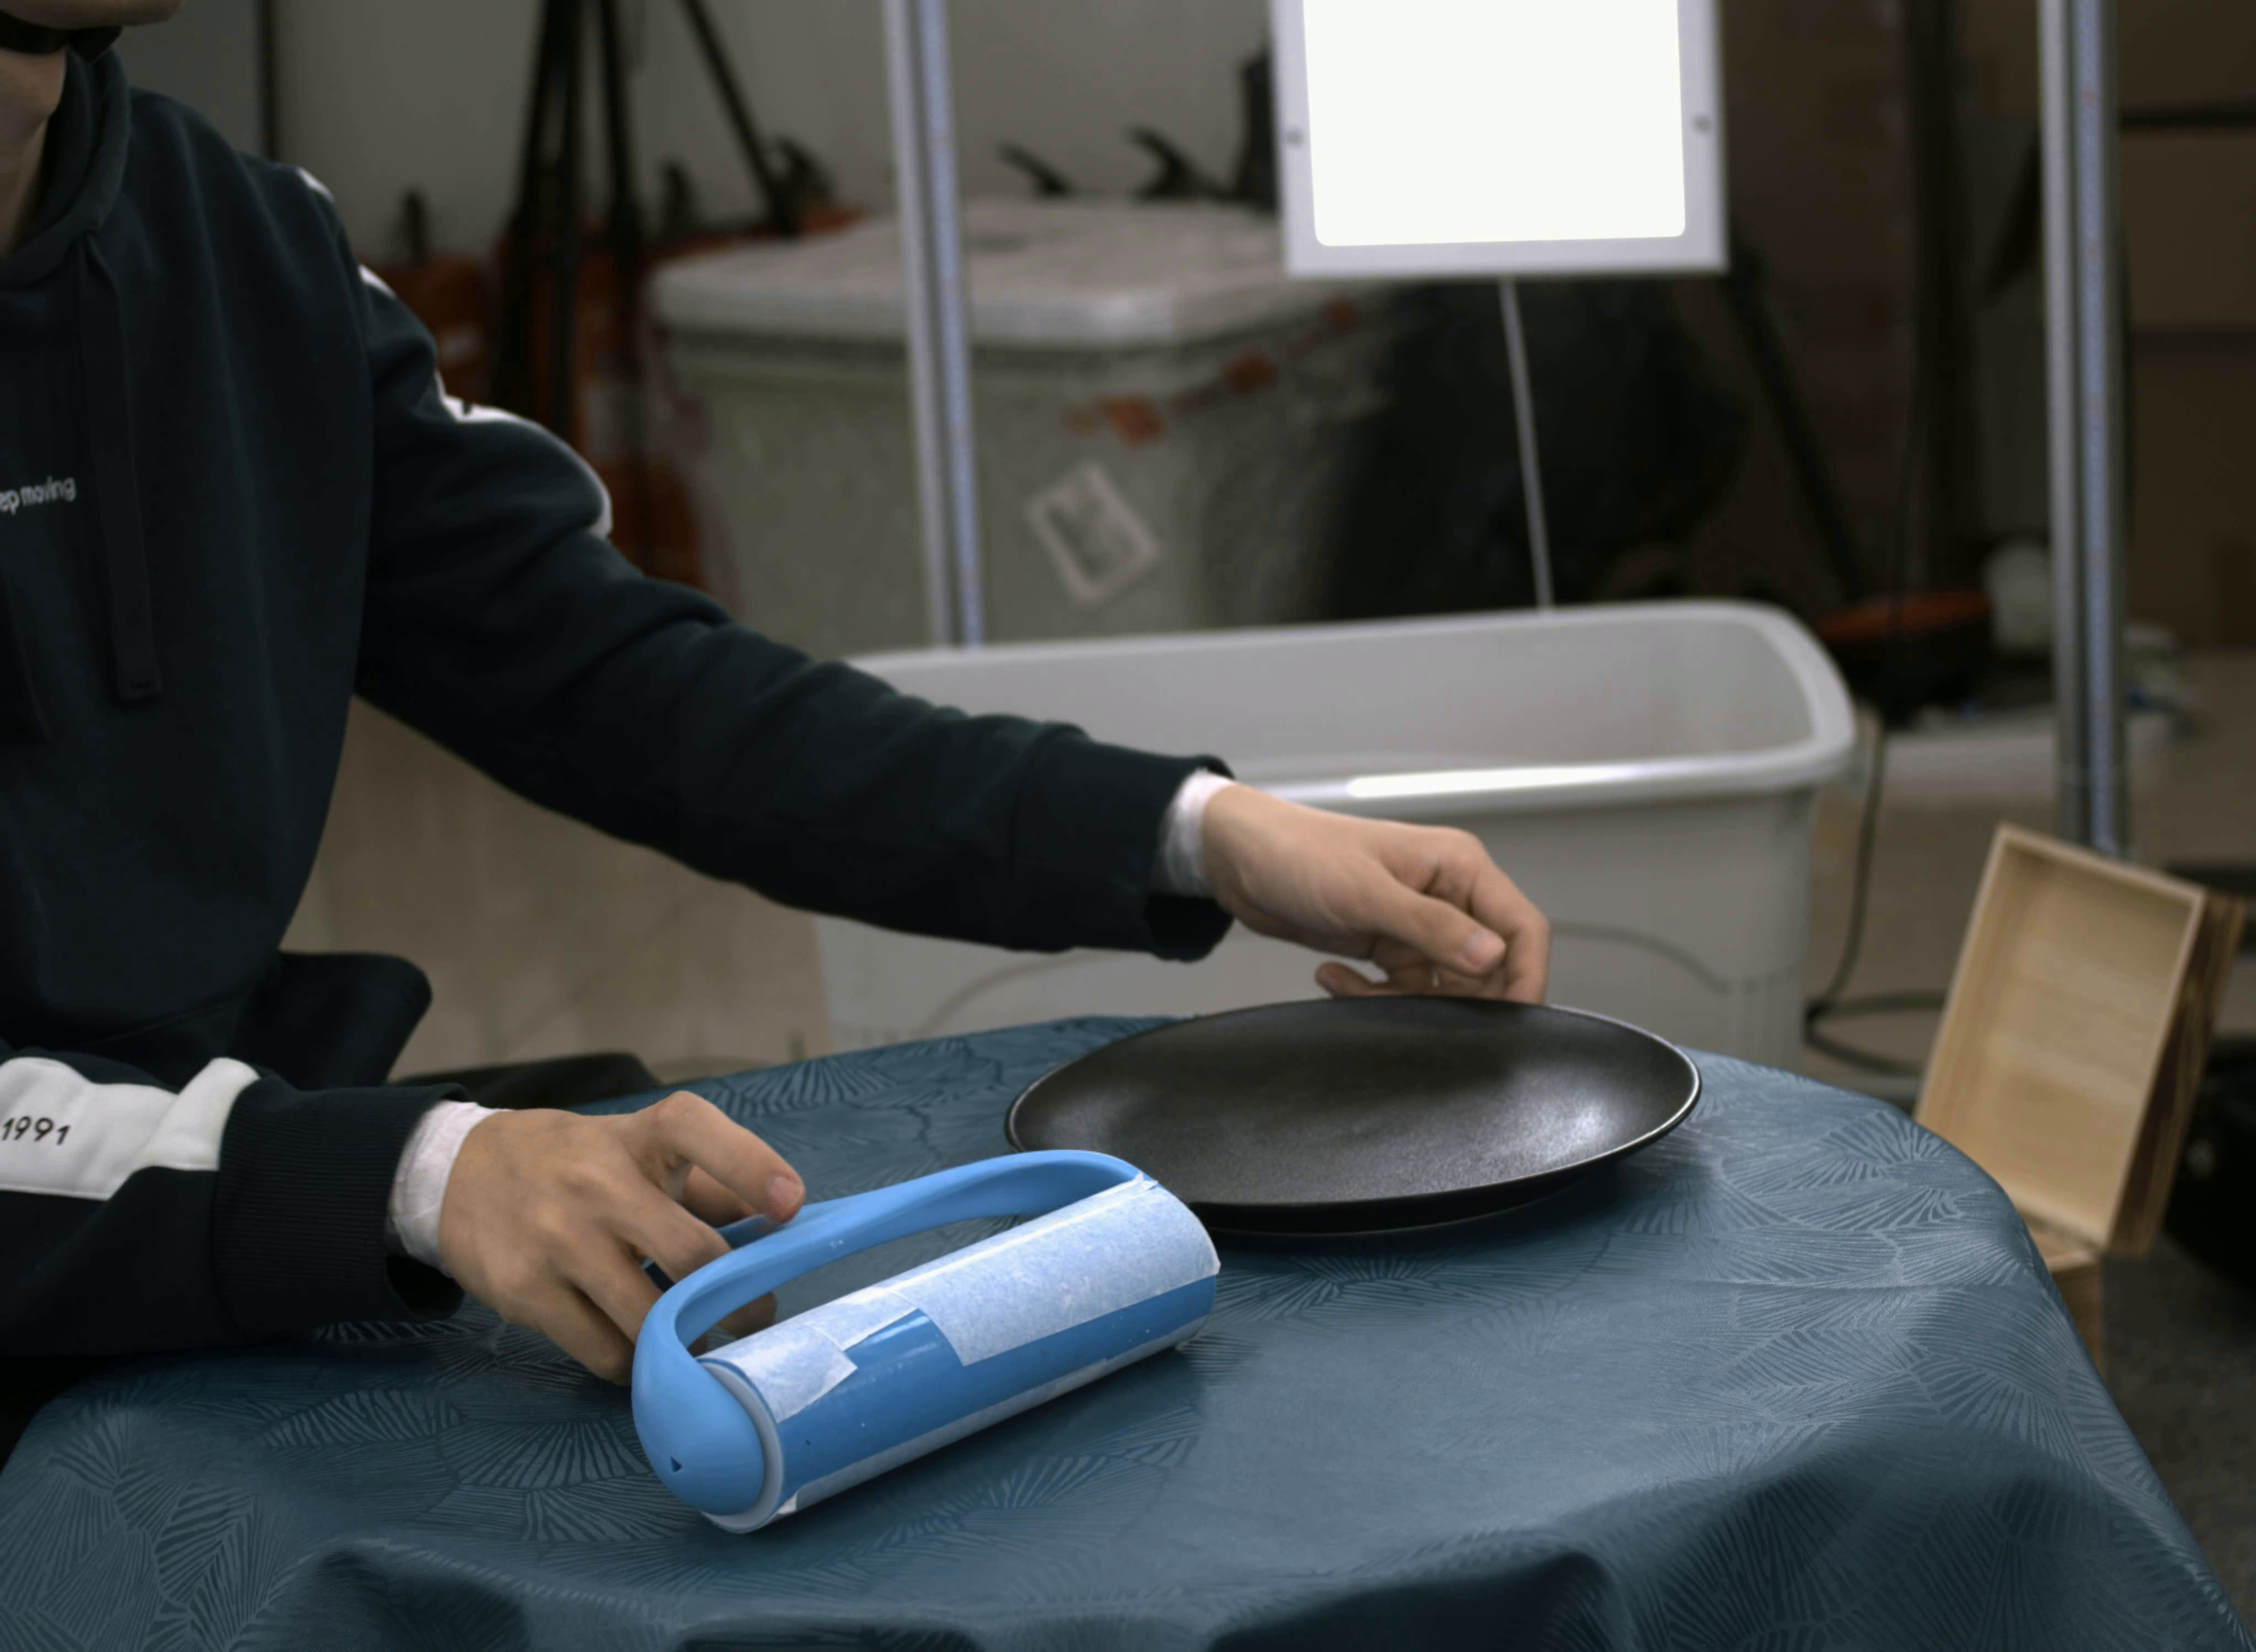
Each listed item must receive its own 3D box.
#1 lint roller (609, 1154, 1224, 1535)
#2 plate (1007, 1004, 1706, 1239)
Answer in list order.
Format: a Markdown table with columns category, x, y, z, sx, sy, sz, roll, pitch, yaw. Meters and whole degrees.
| category | x | y | z | sx | sy | sz | roll | pitch | yaw |
| --- | --- | --- | --- | --- | --- | --- | --- | --- | --- |
| lint roller | -0.098 | 0.153 | 1.708 | 0.184 | 0.068 | 0.223 | 6 | 19 | 40 |
| plate | 0.080 | 0.104 | 1.910 | 0.244 | 0.023 | 0.244 | -5 | 14 | 0 |
